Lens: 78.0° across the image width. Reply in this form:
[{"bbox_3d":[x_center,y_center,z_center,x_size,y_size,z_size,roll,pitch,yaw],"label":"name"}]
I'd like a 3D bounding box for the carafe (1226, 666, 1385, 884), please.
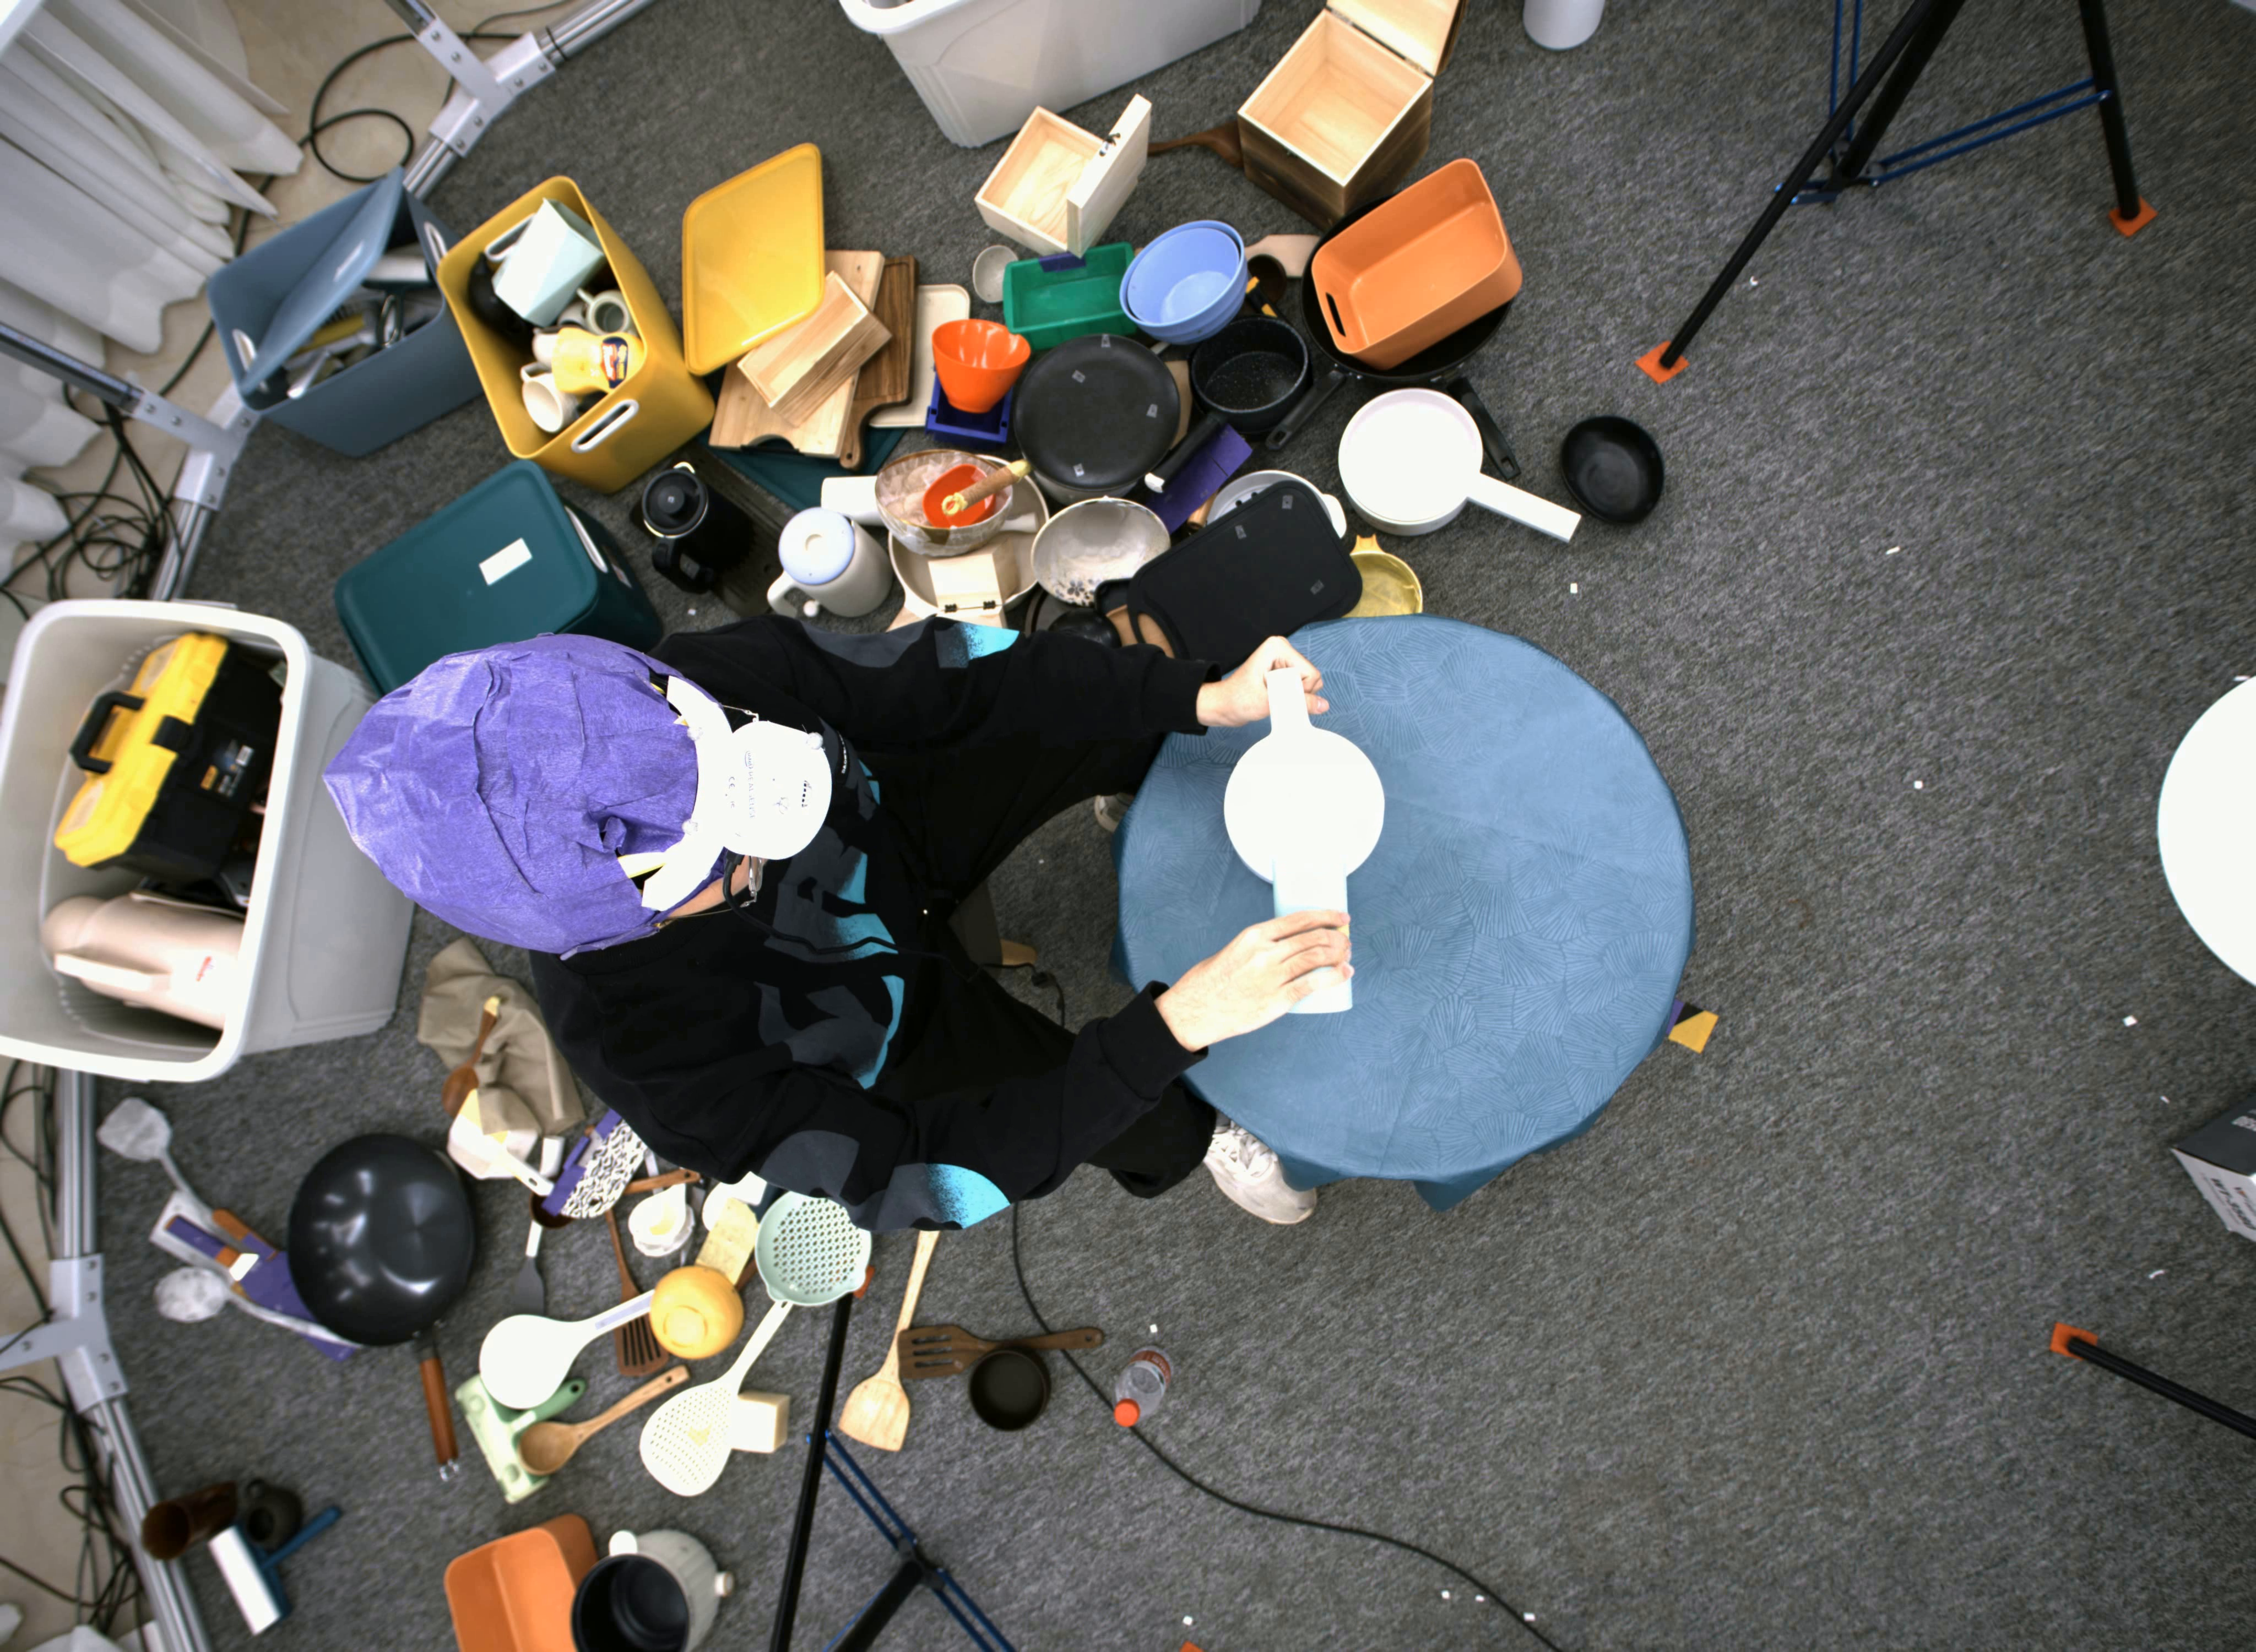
[{"bbox_3d":[0.167,-0.041,1.340,0.152,0.239,0.213,-7,90,5],"label":"carafe"}]

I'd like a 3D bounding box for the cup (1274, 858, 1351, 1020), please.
[{"bbox_3d":[0.155,0.093,1.172,0.067,0.066,0.132,-1,94,10],"label":"cup"}]
